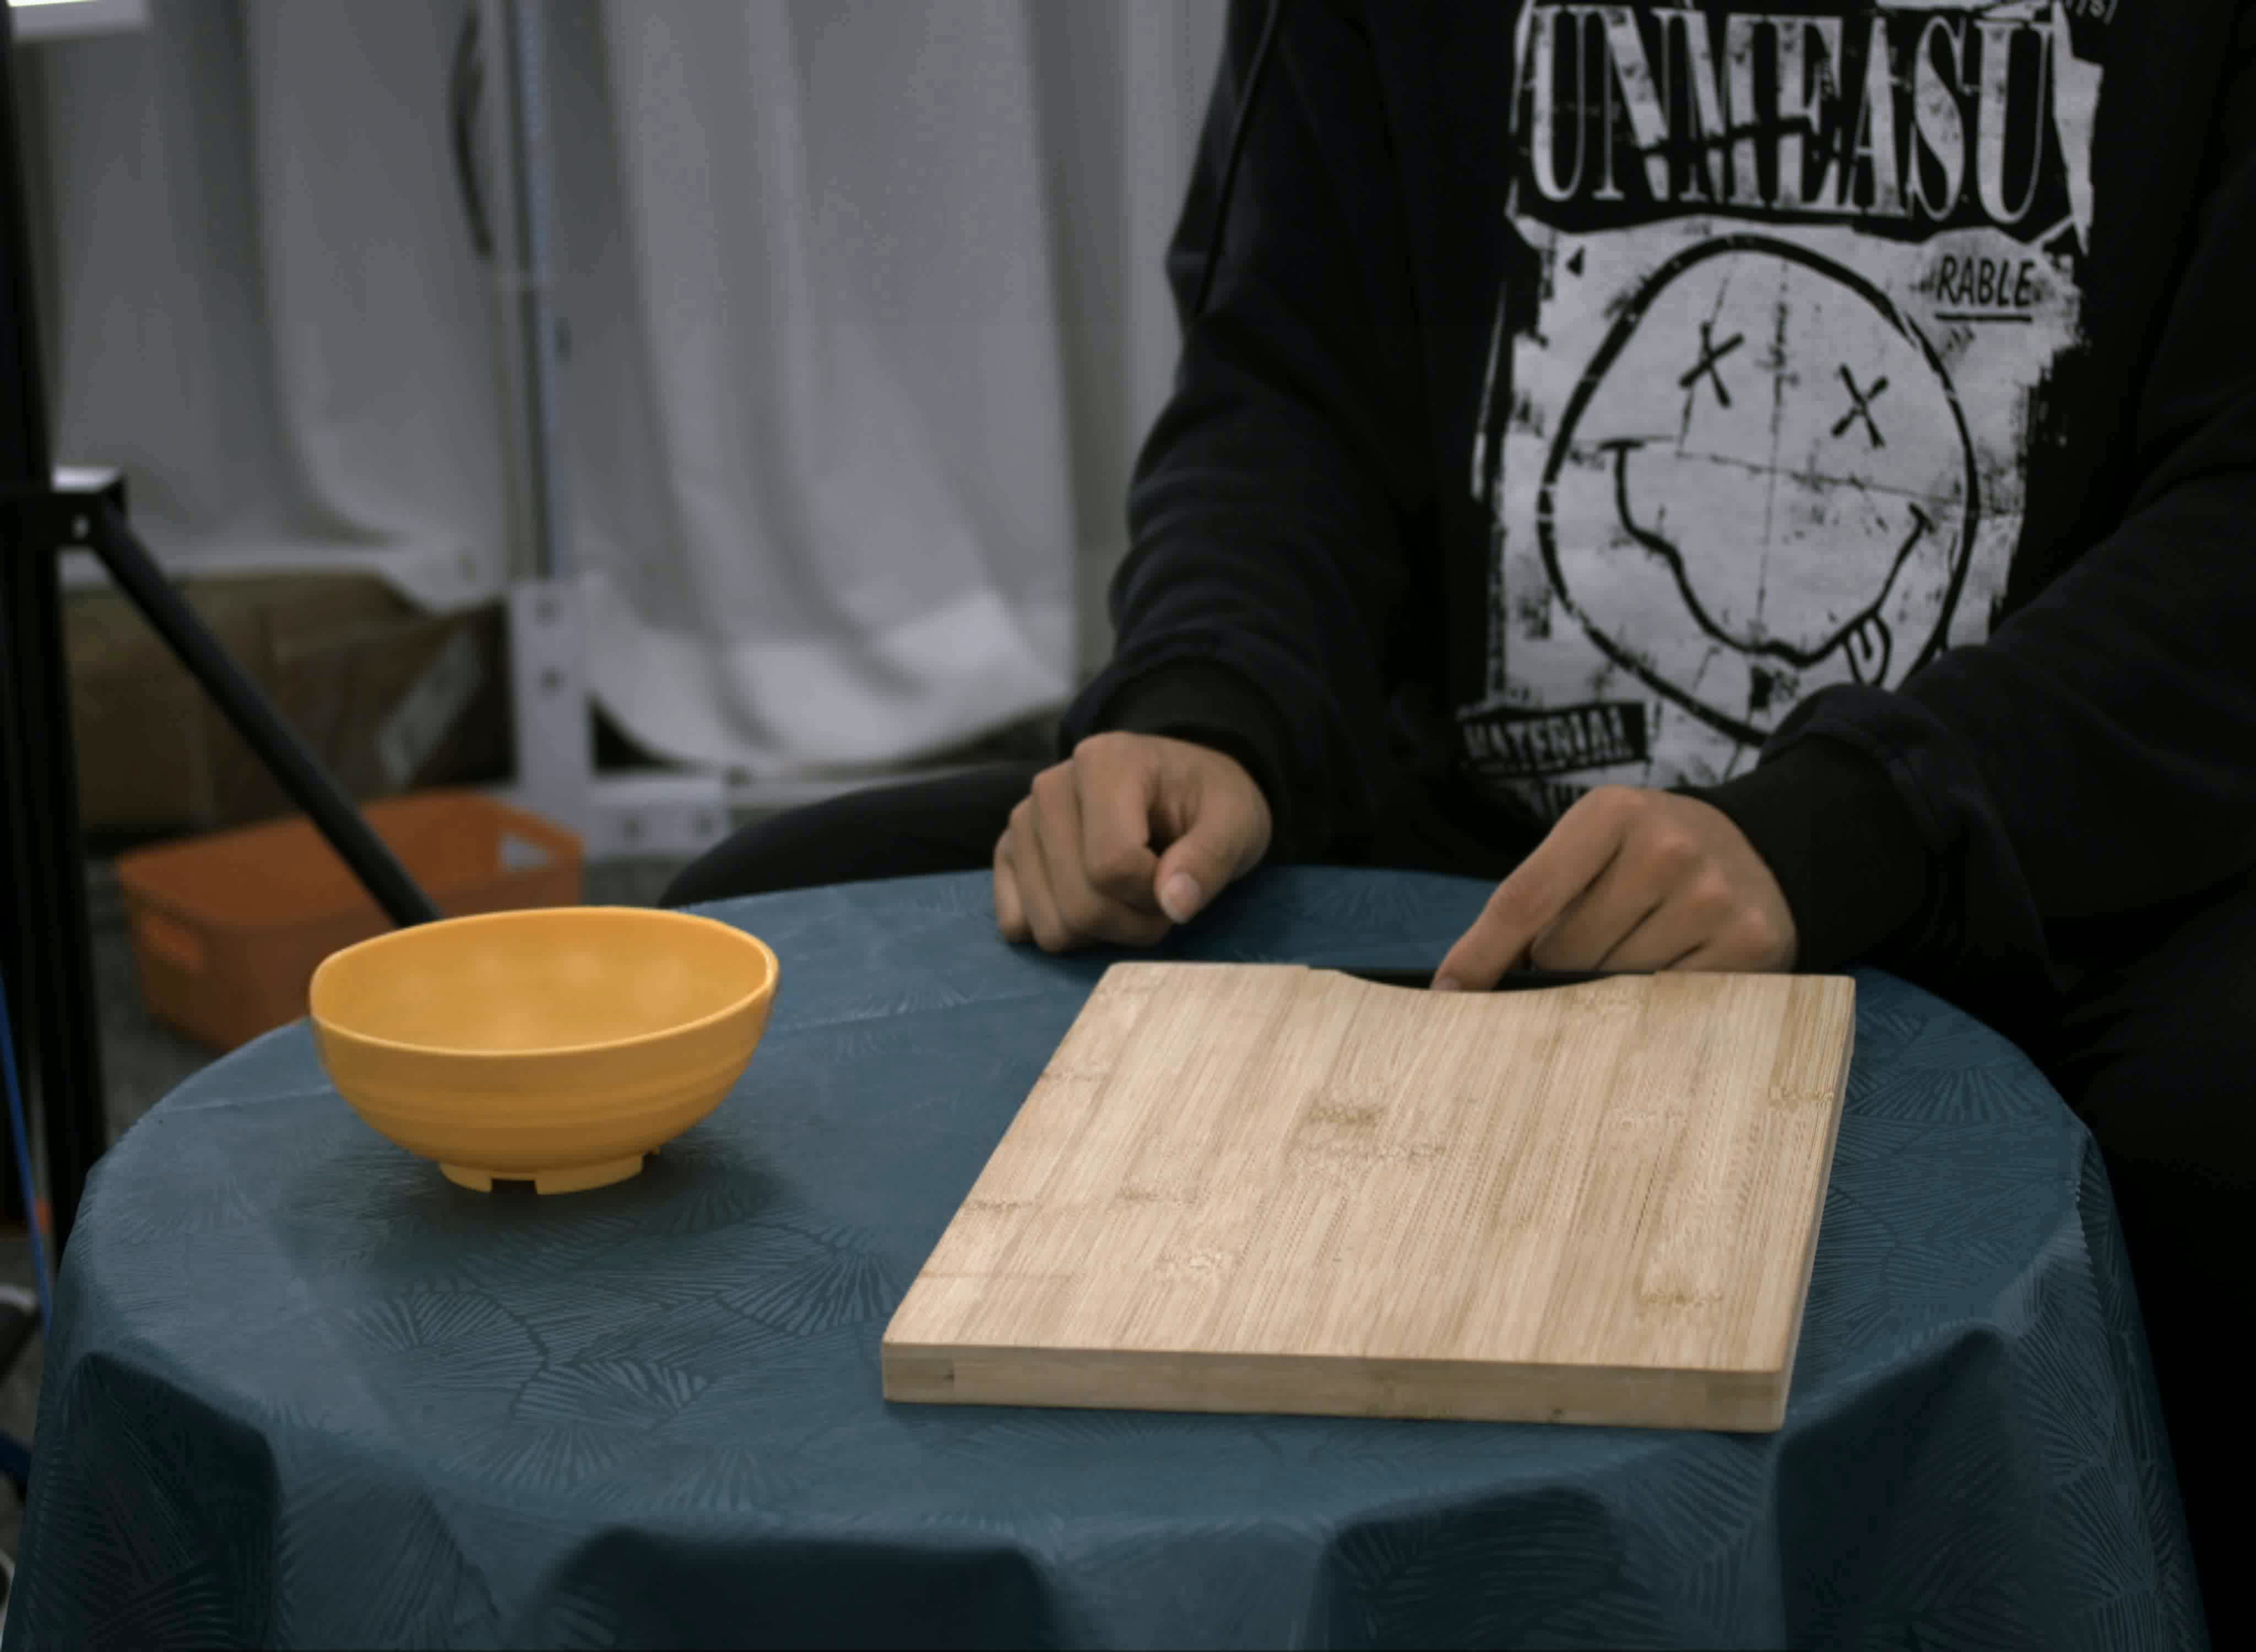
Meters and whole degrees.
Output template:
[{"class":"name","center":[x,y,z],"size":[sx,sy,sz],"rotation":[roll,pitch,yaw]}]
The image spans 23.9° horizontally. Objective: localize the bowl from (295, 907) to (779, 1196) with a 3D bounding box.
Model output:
[{"class":"bowl","center":[-0.177,0.074,1.606],"size":[0.144,0.060,0.146],"rotation":[0,16,-1]}]

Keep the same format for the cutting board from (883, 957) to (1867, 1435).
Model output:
[{"class":"cutting board","center":[0.084,0.100,1.543],"size":[0.252,0.023,0.347],"rotation":[0,16,10]}]
